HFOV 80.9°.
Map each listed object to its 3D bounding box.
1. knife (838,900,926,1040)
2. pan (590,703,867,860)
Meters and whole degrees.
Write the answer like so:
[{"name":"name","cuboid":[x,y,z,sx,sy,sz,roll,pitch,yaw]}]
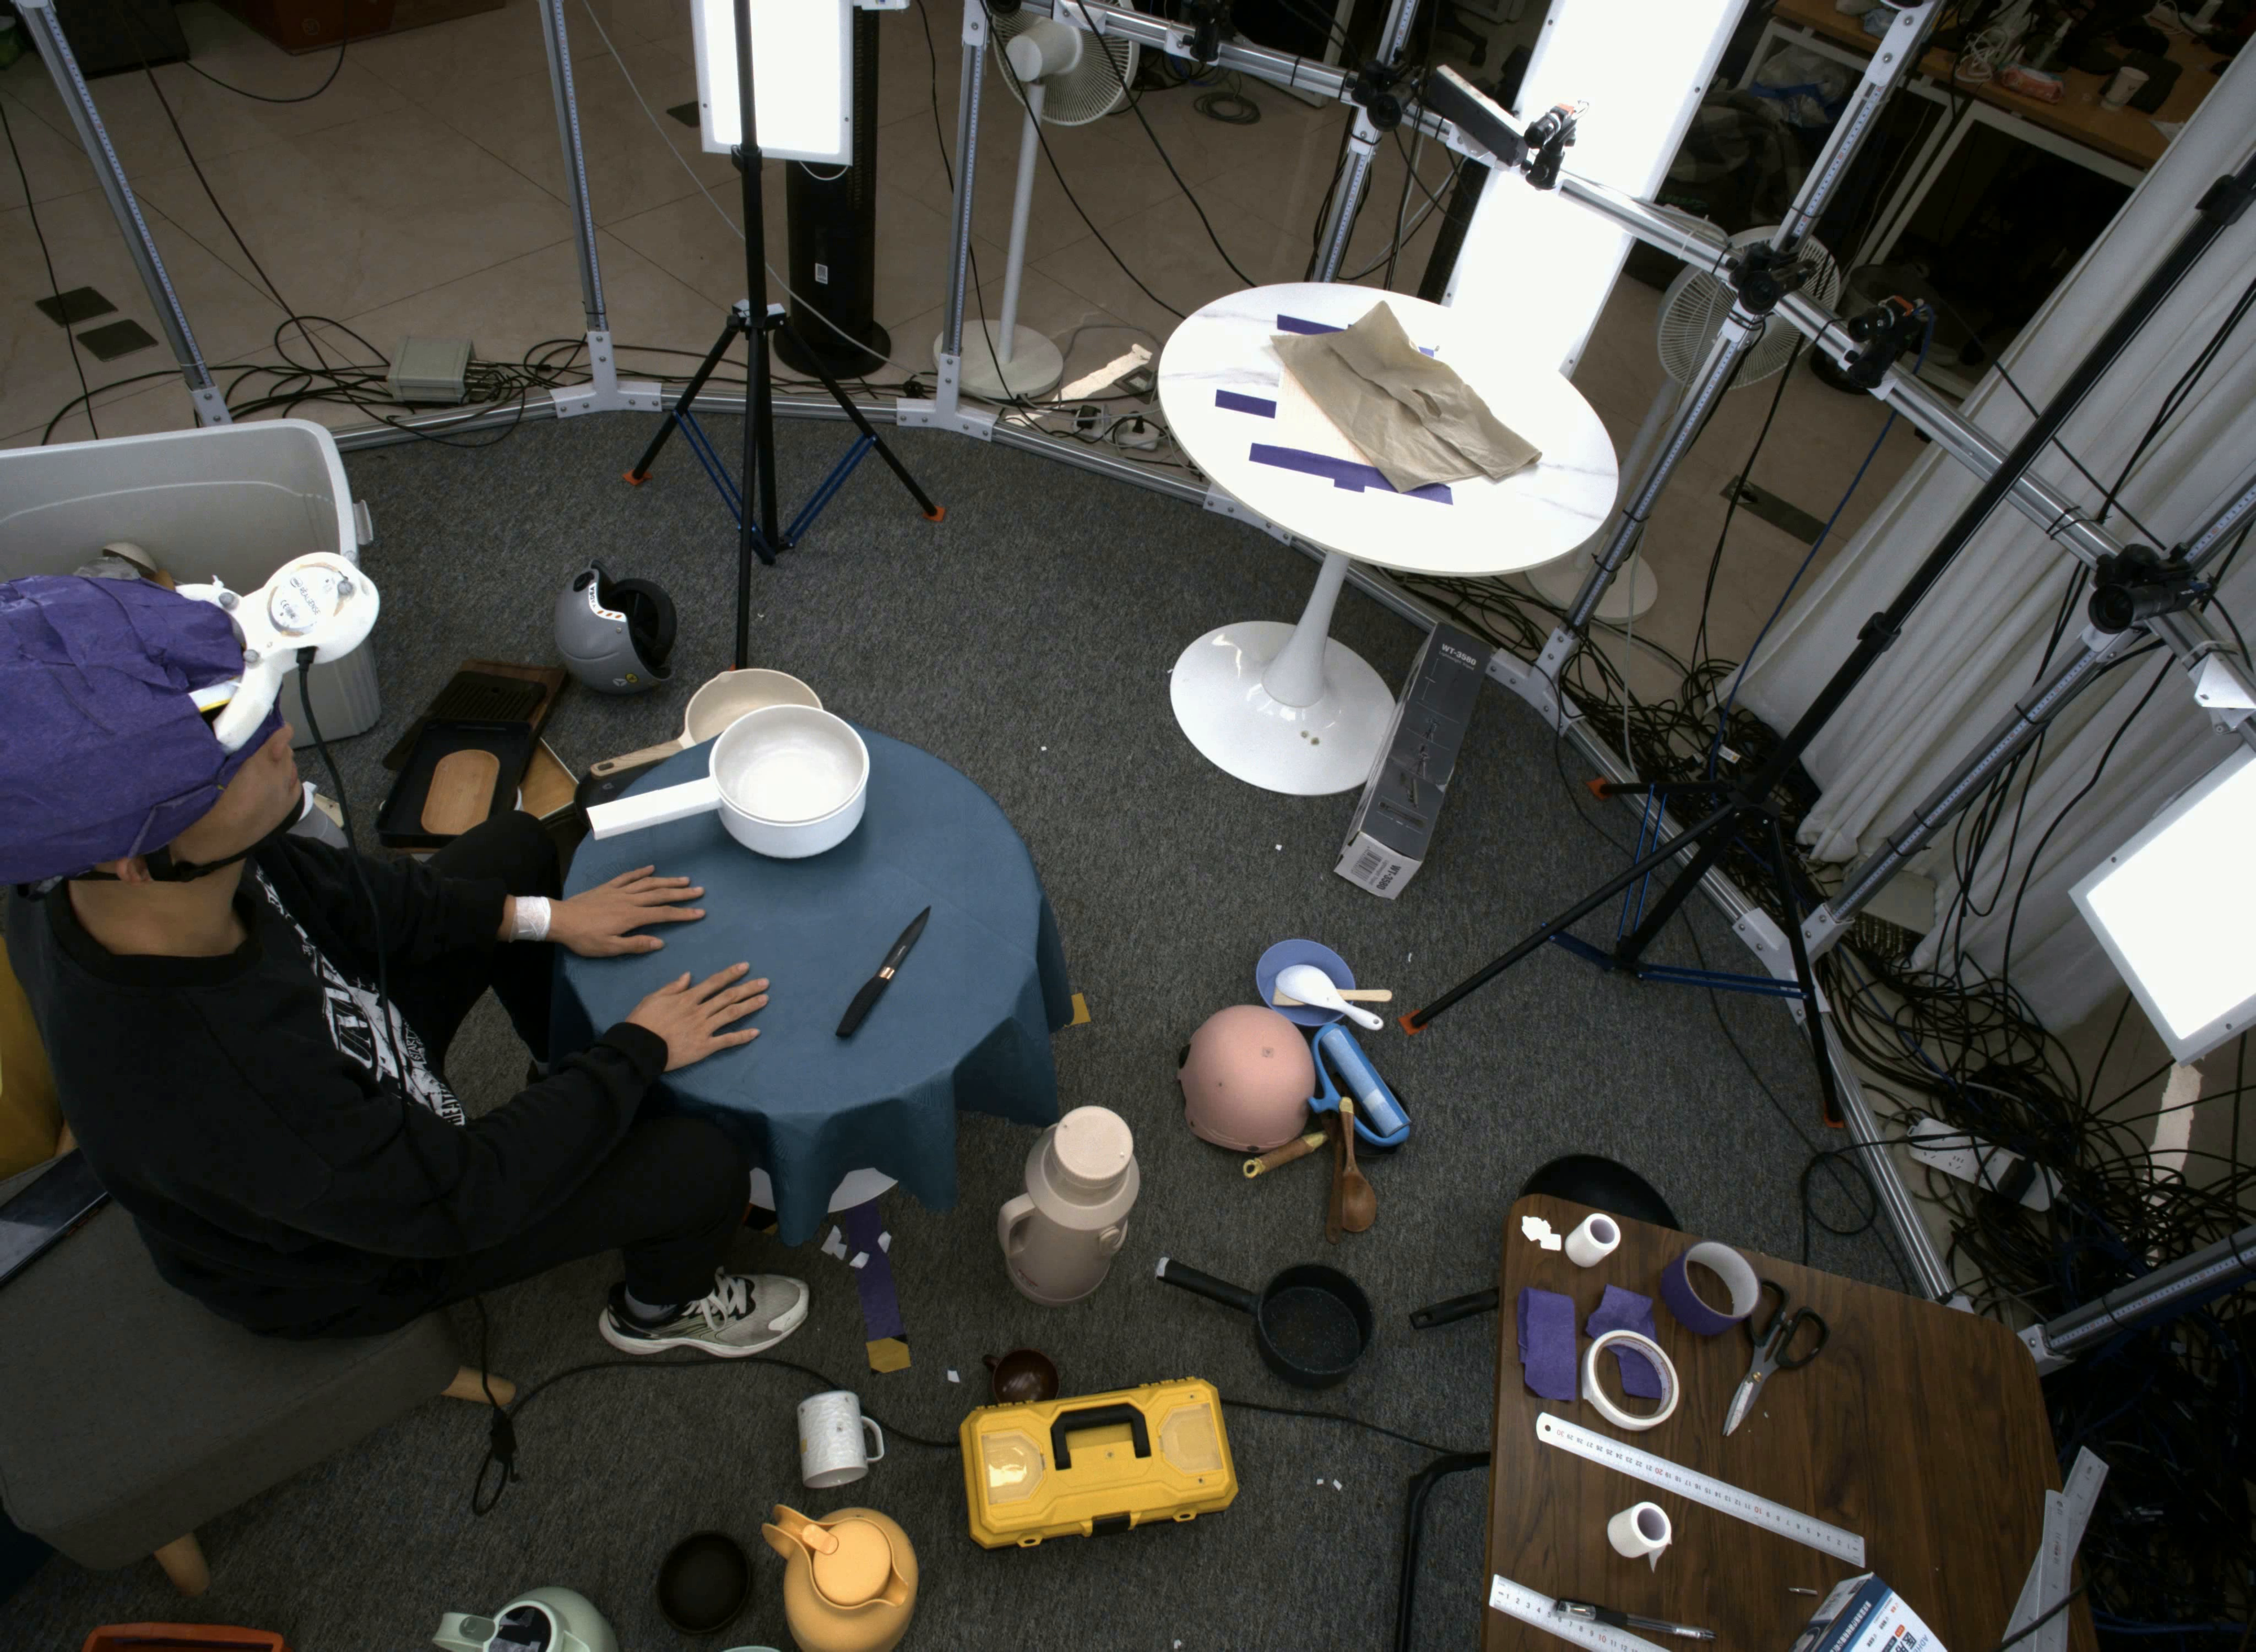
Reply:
[{"name":"knife","cuboid":[-0.300,0.173,1.619,0.025,0.018,0.224,15,49,17]},{"name":"pan","cuboid":[-0.510,-0.032,1.661,0.356,0.104,0.196,-18,61,-25]}]
